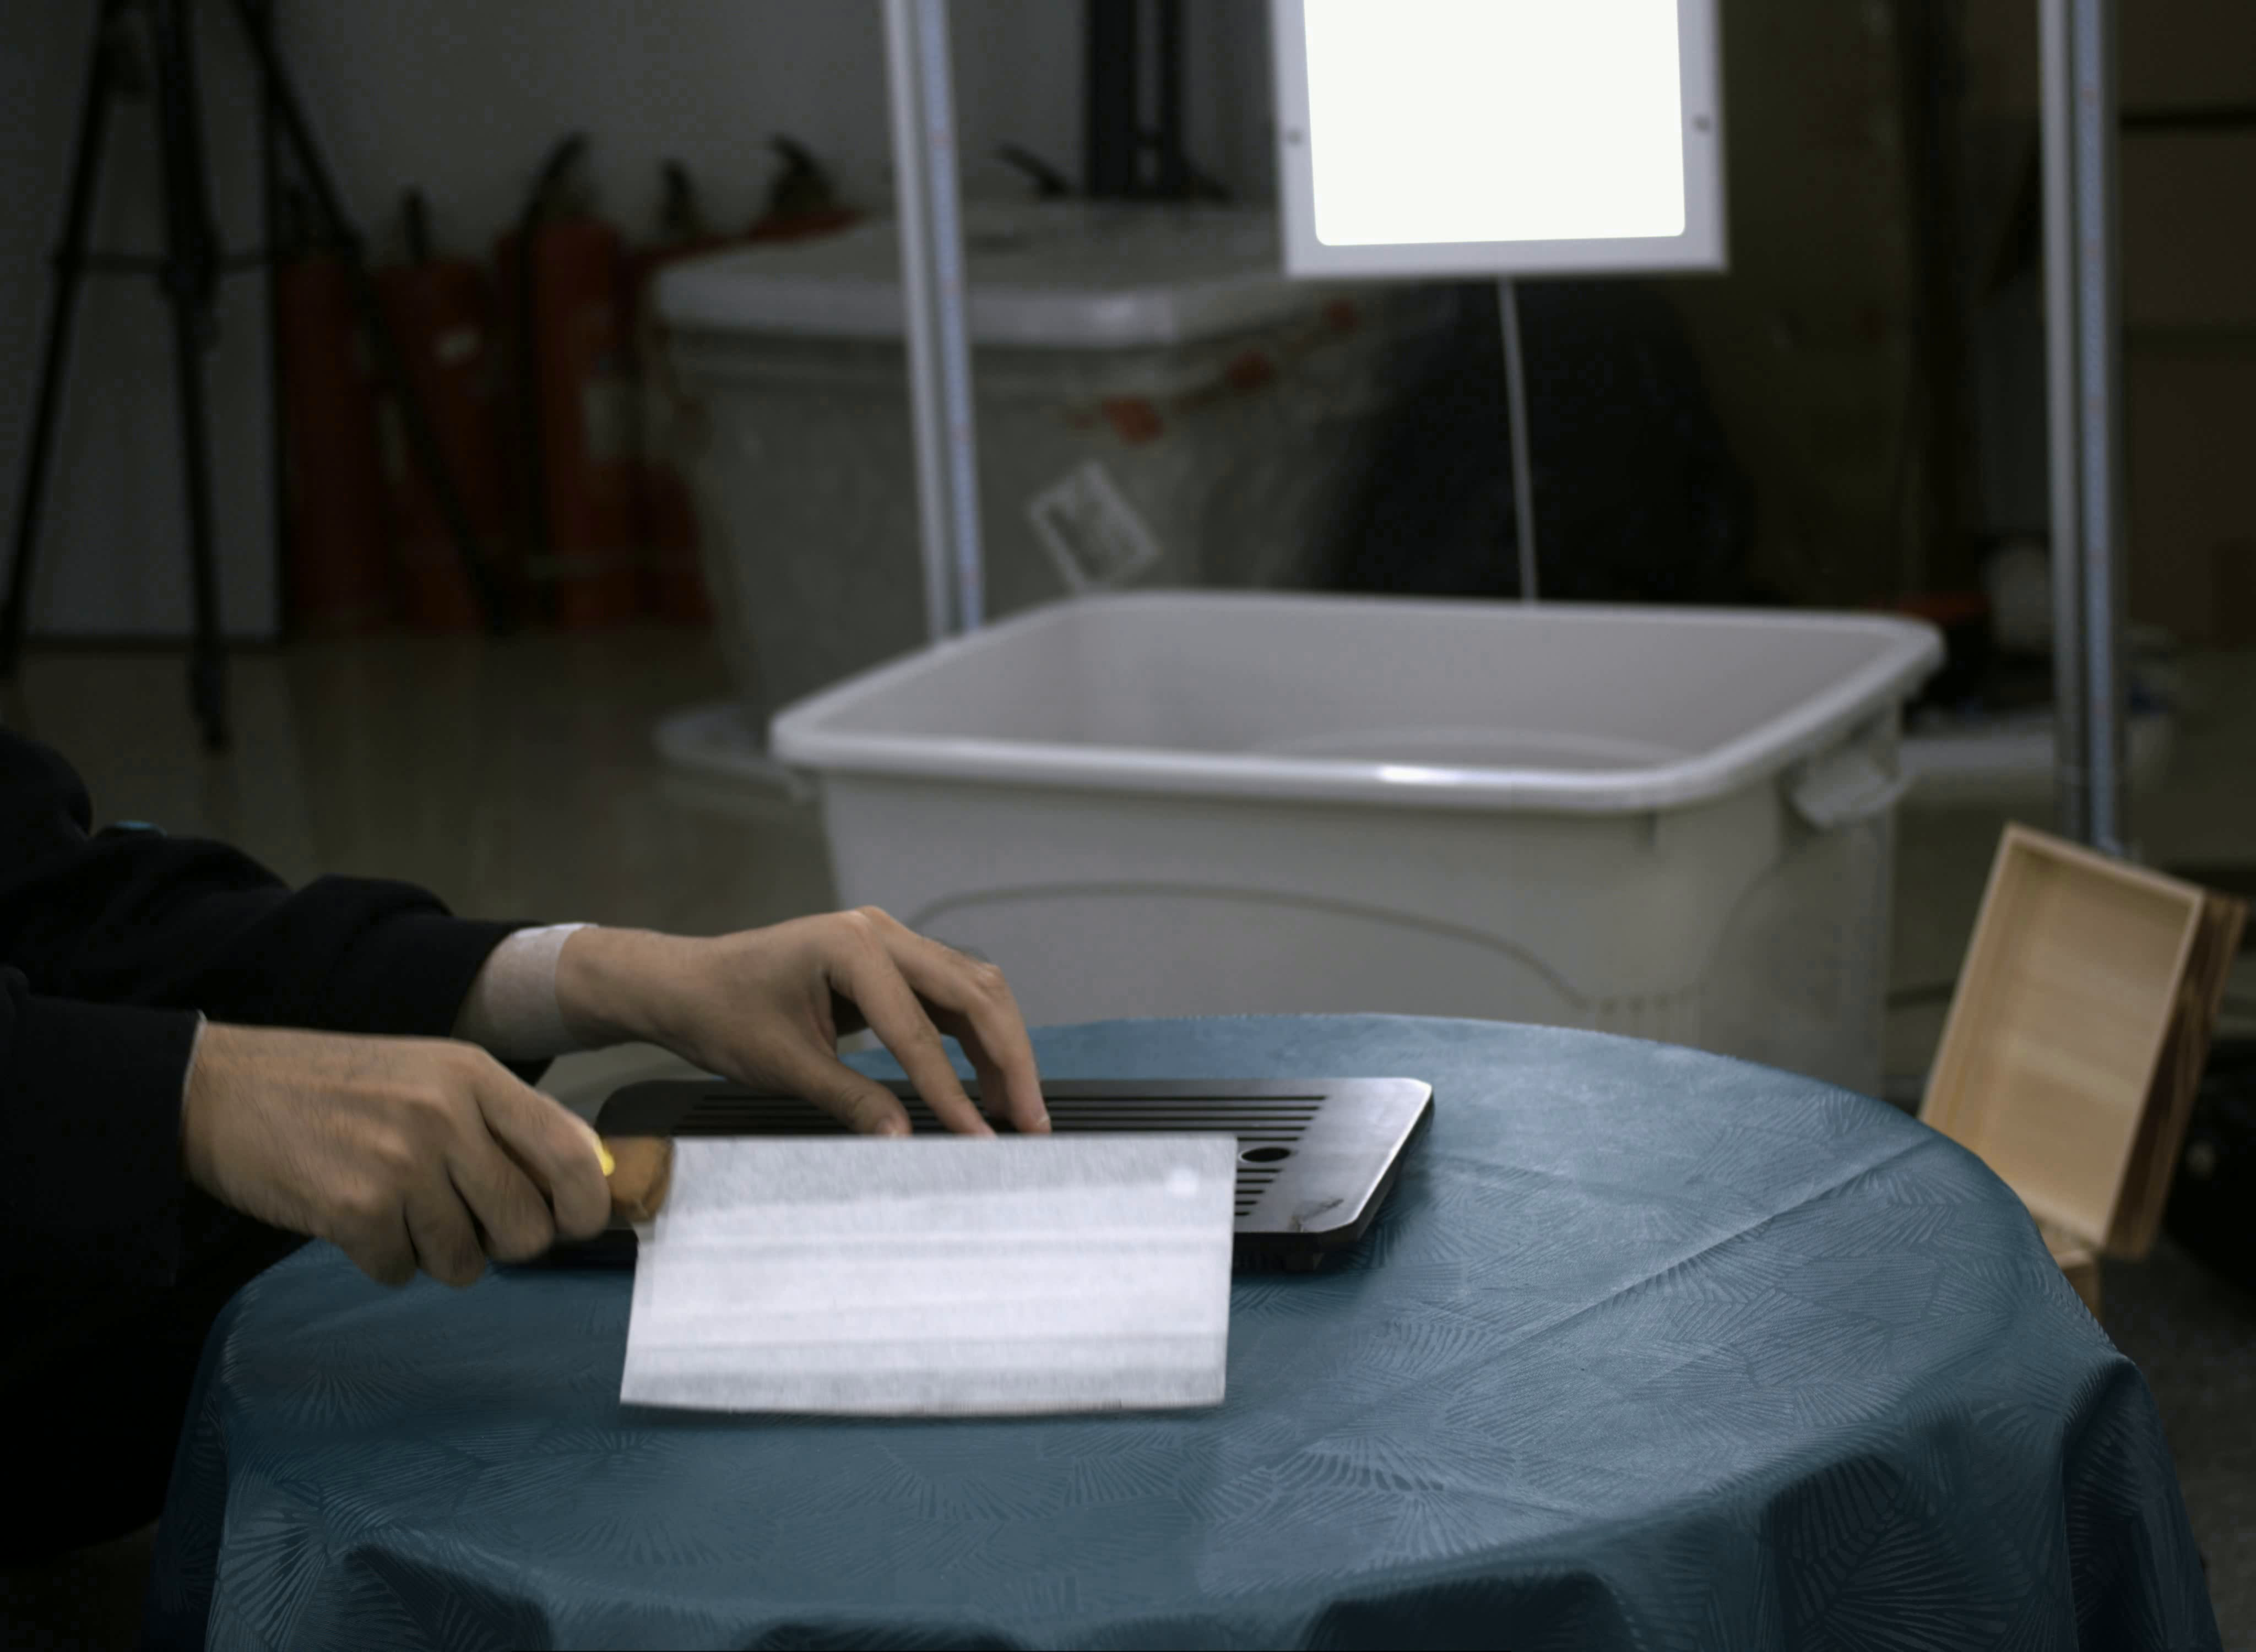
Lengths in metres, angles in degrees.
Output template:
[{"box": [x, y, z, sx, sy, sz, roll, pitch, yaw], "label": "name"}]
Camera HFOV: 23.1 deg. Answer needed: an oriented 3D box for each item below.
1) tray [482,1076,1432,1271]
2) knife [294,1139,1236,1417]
[{"box": [-0.057, 0.119, 1.908, 0.309, 0.019, 0.167, -1, 15, 17], "label": "tray"}, {"box": [-0.117, 0.141, 1.718, 0.308, 0.092, 0.021, -1, -29, 12], "label": "knife"}]
